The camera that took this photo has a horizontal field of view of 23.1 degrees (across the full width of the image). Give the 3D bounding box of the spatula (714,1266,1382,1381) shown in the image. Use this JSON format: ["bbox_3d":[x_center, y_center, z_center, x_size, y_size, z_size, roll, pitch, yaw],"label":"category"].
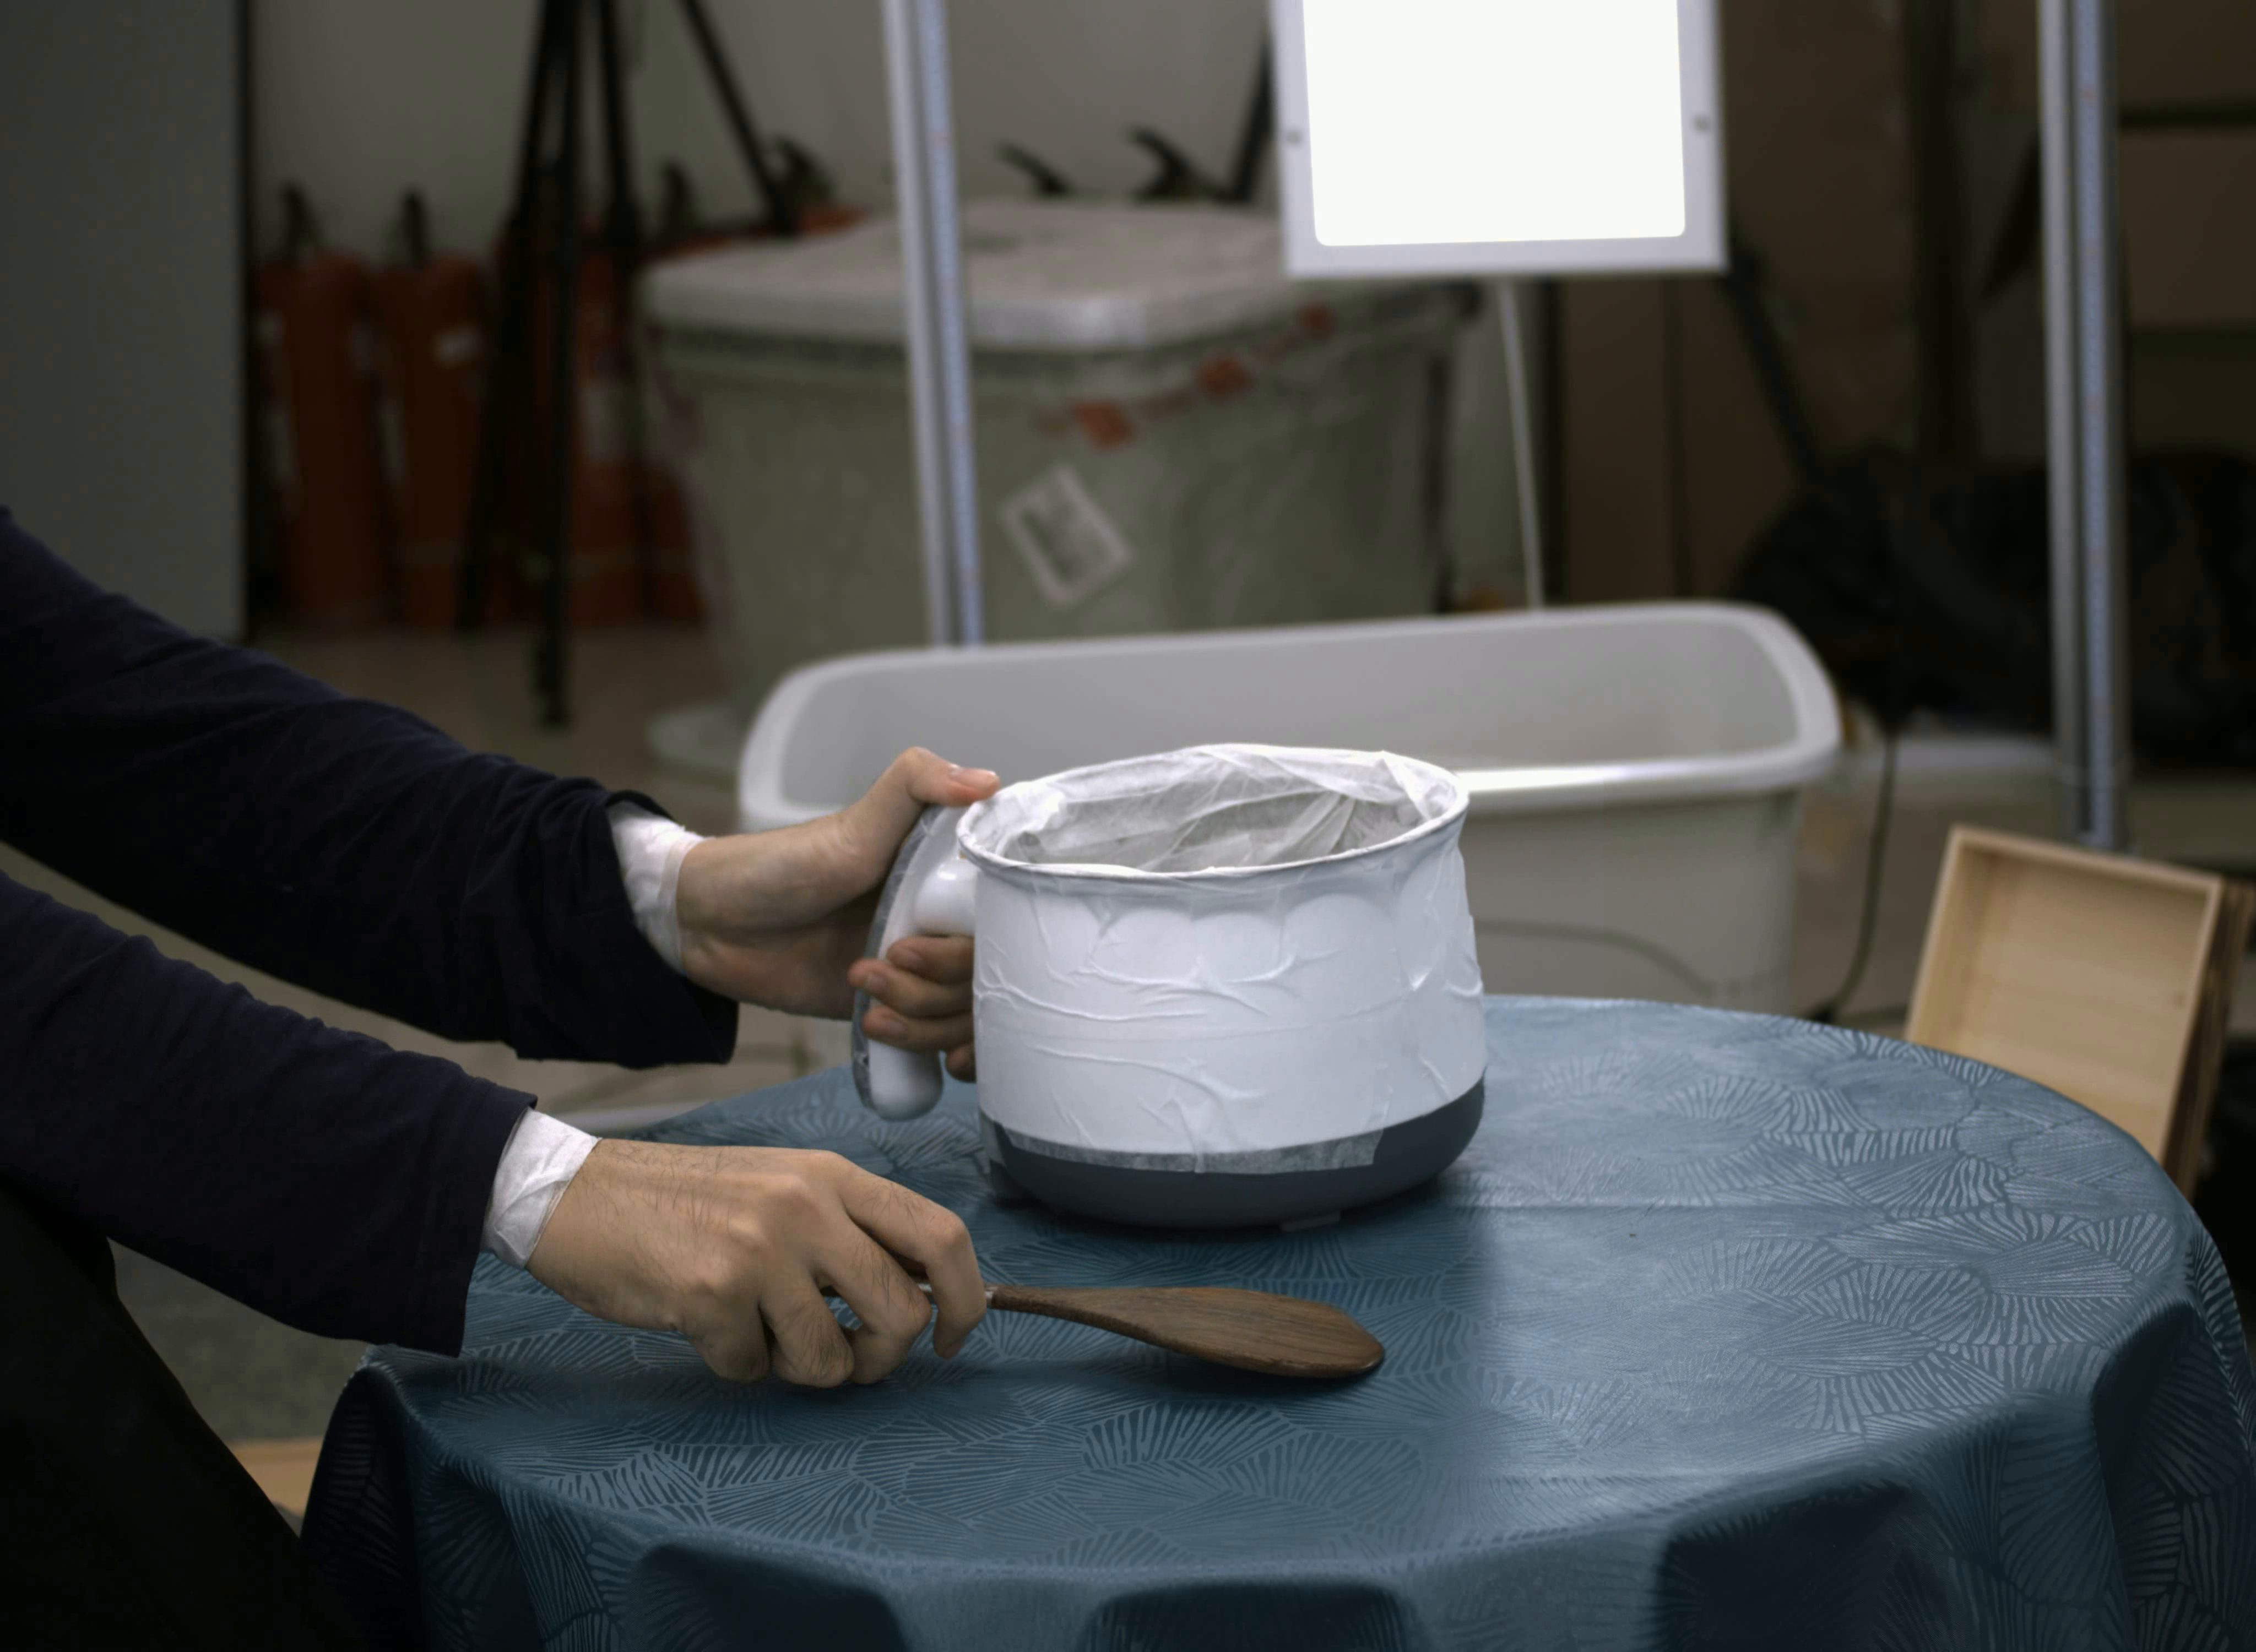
[{"bbox_3d":[-0.026,0.152,1.731,0.217,0.009,0.071,6,10,14],"label":"spatula"}]

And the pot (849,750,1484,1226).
[{"bbox_3d":[0.009,0.052,1.906,0.237,0.137,0.175,3,13,25],"label":"pot"}]
